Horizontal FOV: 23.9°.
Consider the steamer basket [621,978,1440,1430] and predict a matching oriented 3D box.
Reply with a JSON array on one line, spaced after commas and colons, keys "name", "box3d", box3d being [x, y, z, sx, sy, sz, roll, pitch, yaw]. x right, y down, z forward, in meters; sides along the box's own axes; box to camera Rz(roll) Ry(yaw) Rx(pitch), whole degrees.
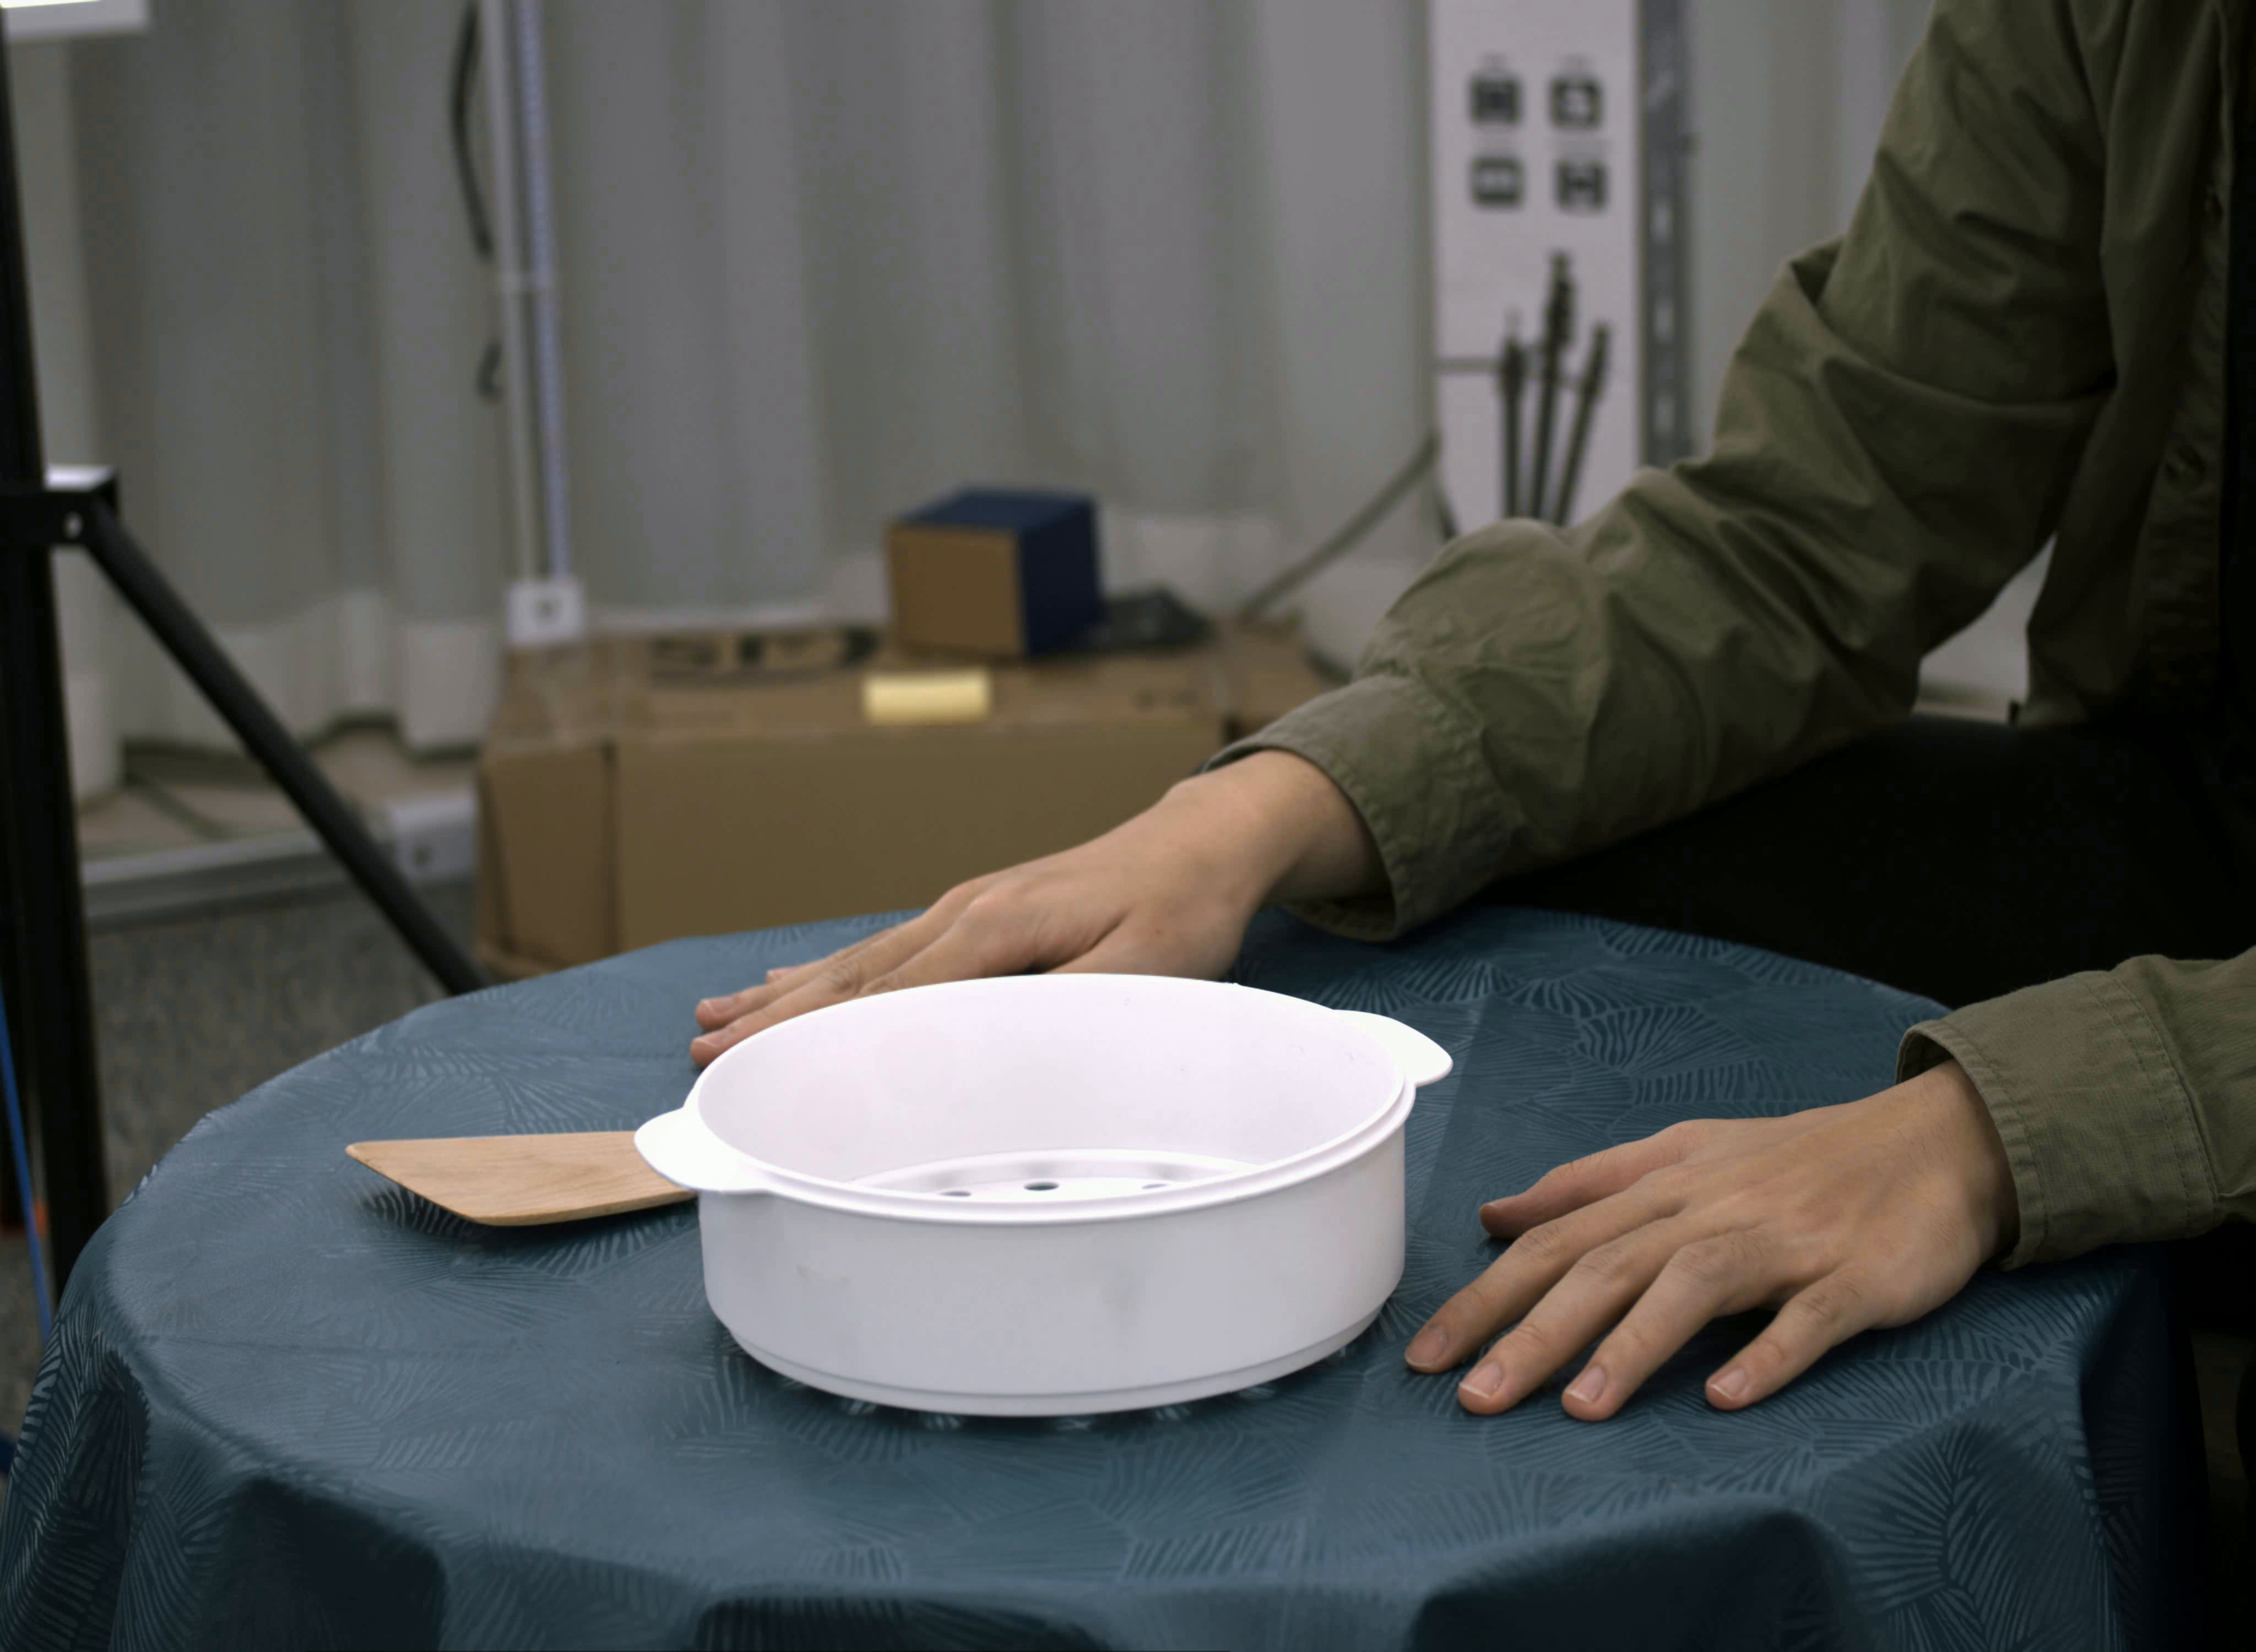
[{"name": "steamer basket", "box3d": [-0.025, 0.104, 1.465, 0.226, 0.069, 0.205, -6, 17, -19]}]

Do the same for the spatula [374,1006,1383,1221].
[{"name": "spatula", "box3d": [-0.065, 0.084, 1.625, 0.321, 0.016, 0.081, -10, 18, -24]}]
